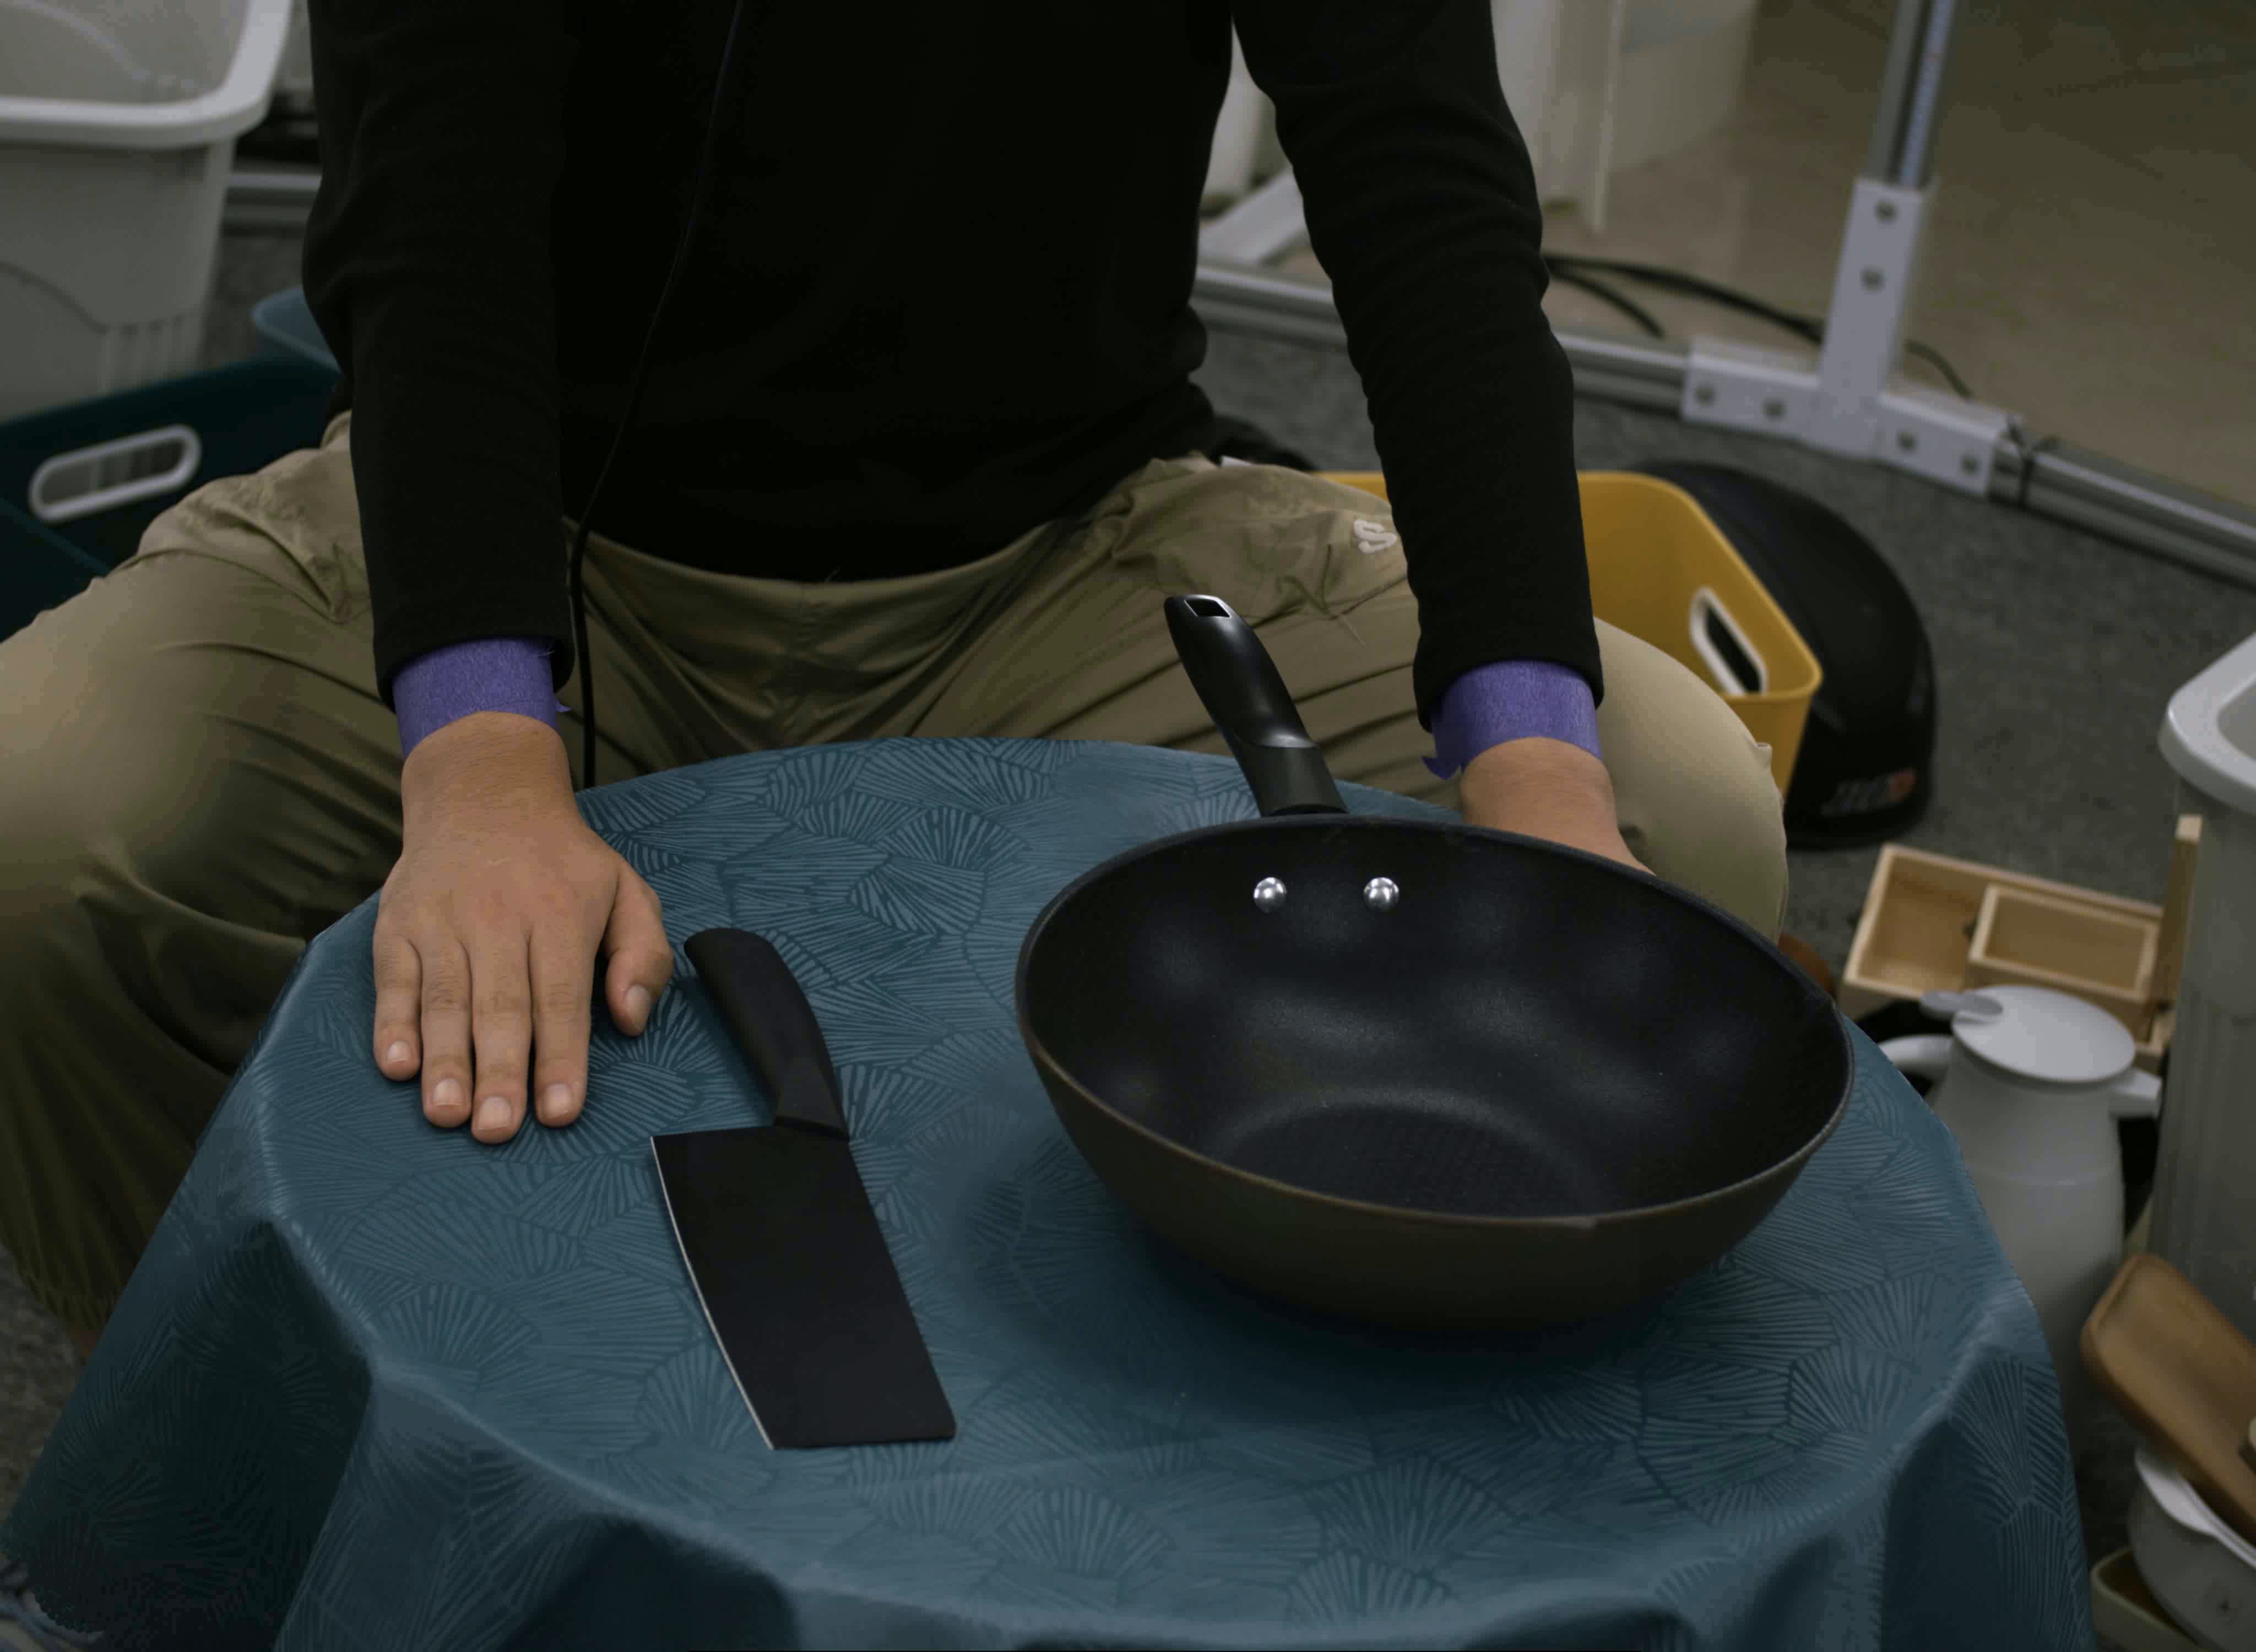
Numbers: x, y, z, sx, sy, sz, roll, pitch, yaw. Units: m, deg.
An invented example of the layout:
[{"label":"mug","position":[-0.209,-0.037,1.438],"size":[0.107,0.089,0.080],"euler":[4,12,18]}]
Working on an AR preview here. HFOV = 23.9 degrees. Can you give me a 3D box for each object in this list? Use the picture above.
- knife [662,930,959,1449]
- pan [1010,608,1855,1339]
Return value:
[{"label":"knife","position":[-0.116,0.118,1.776],"size":[0.080,0.021,0.305],"euler":[-1,30,-11]},{"label":"pan","position":[0.077,0.053,1.870],"size":[0.286,0.086,0.467],"euler":[-1,27,-14]}]
